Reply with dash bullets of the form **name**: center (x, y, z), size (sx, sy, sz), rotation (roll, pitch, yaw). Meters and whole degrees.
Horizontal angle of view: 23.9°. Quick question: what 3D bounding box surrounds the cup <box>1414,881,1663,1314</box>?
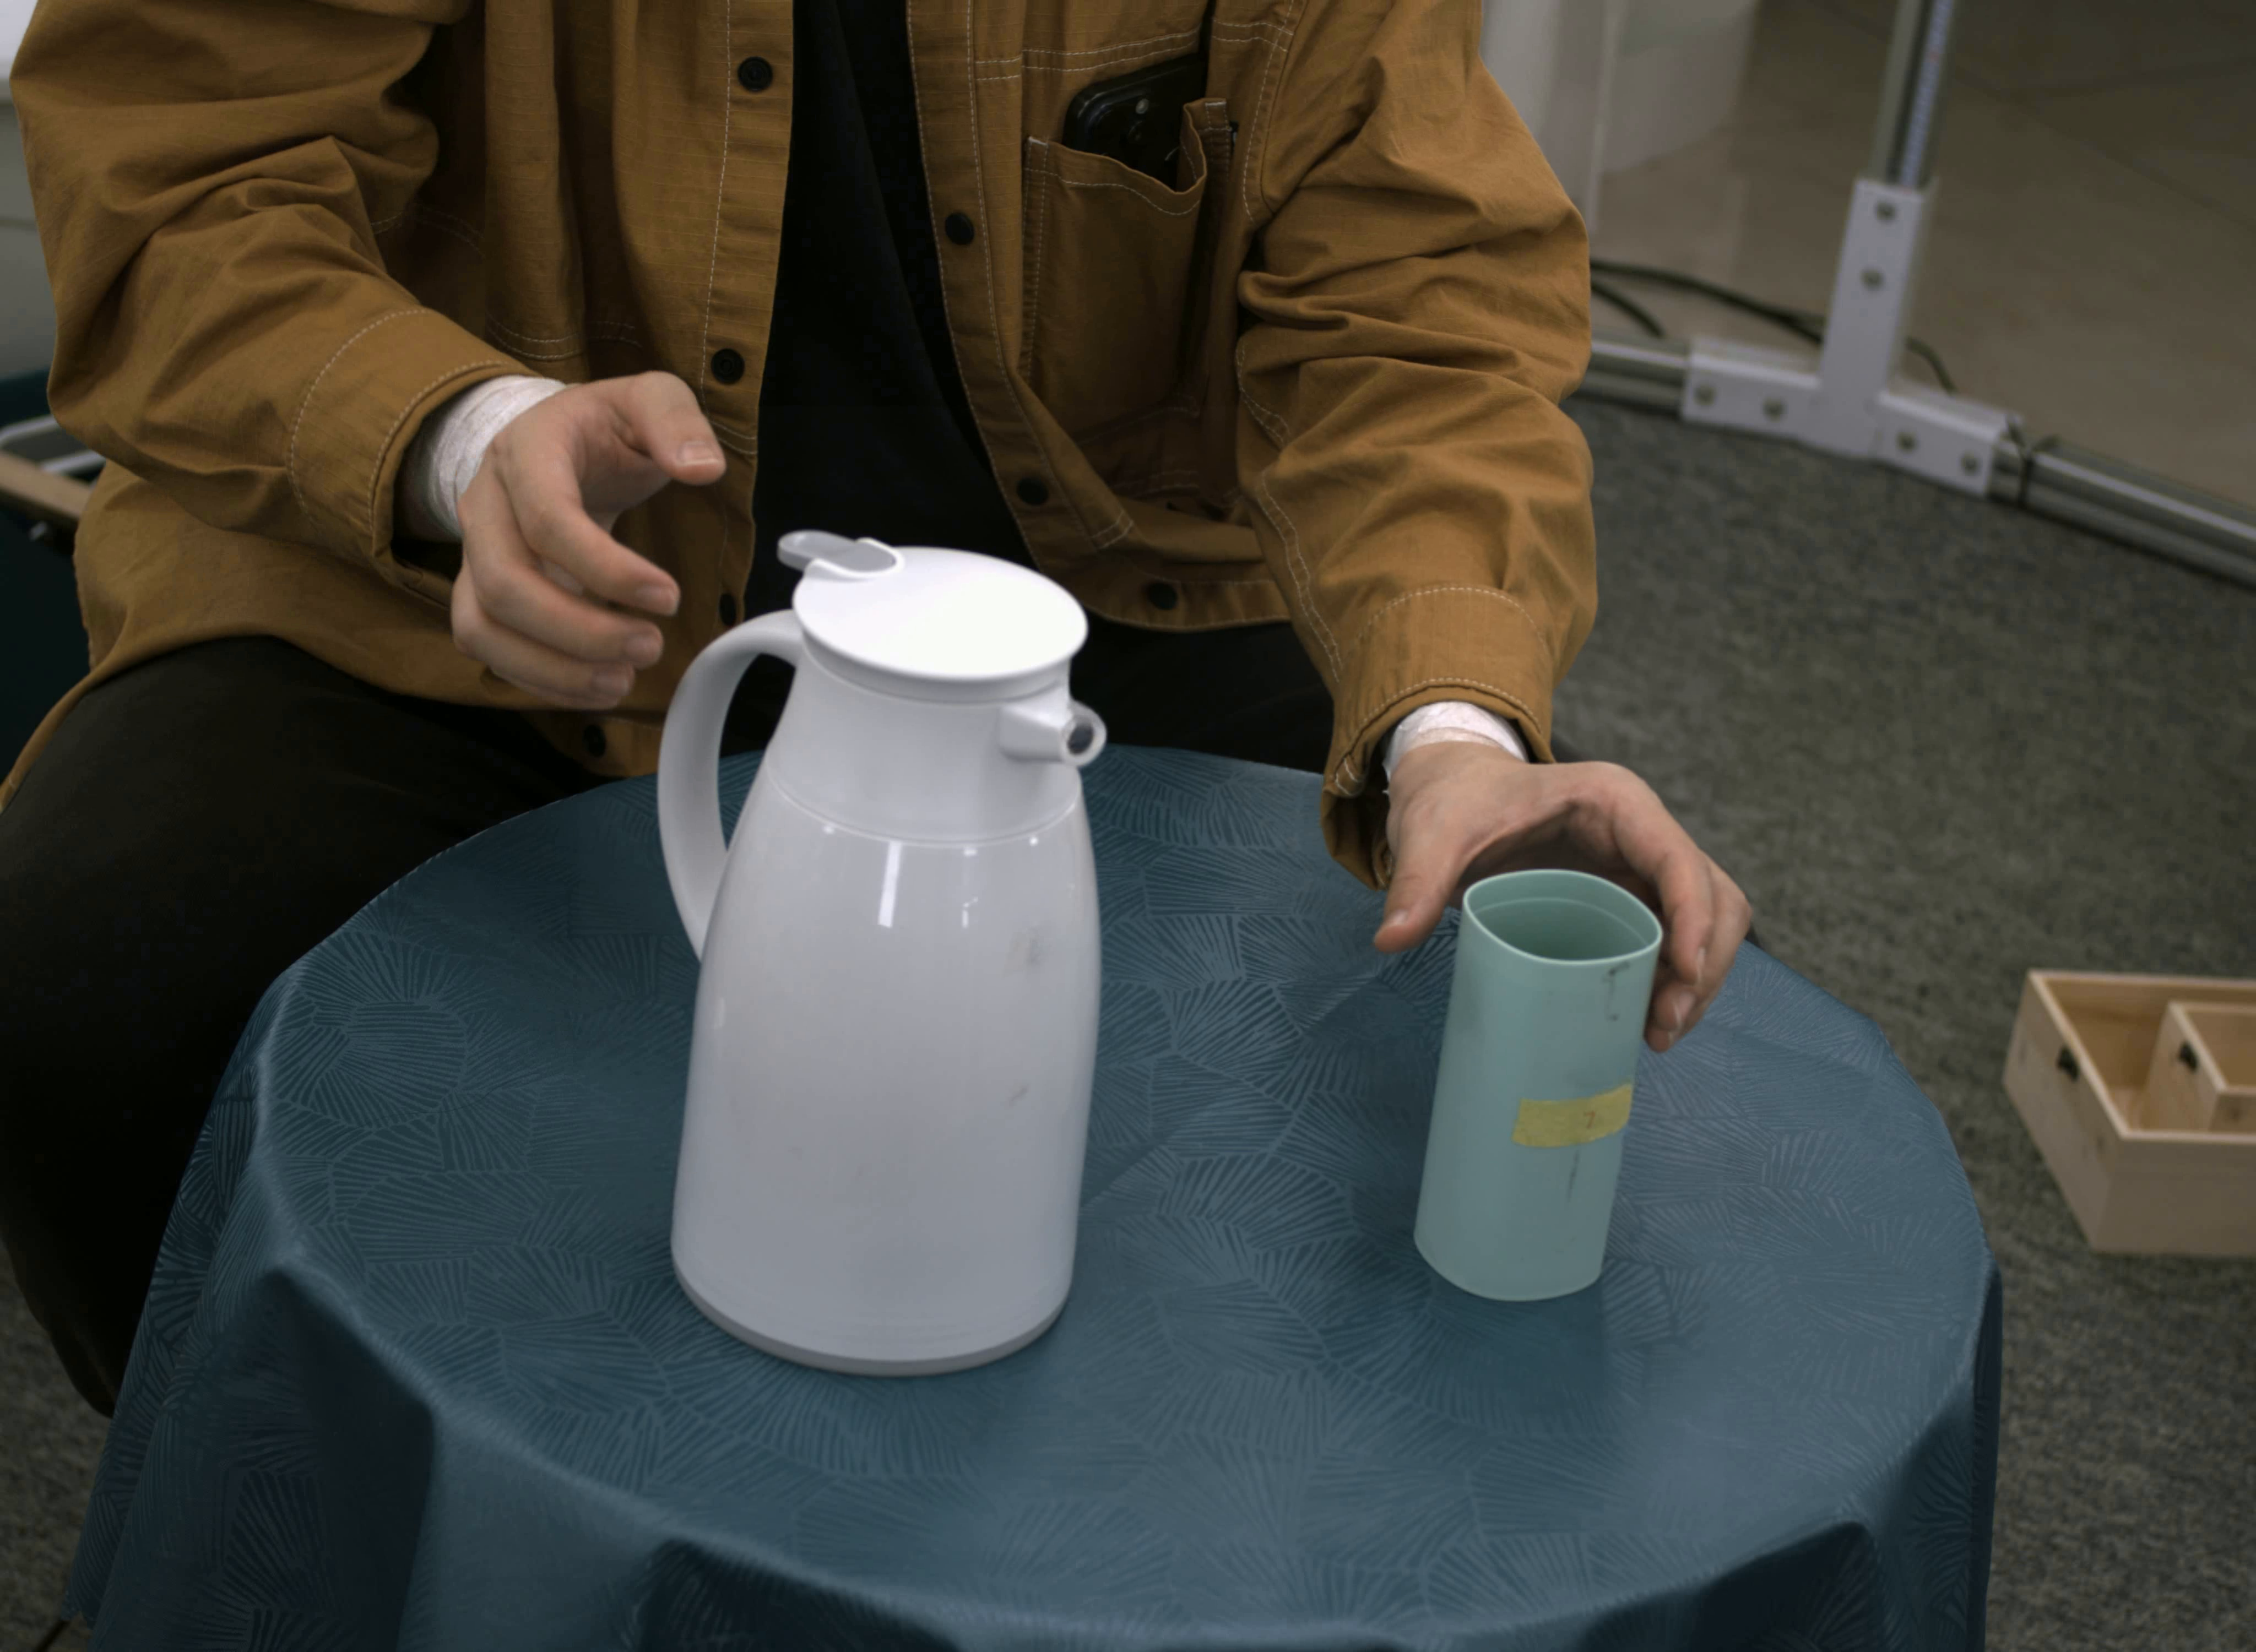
- **cup**: center (0.134, 0.089, 1.767), size (0.066, 0.132, 0.067), rotation (6, 26, -3)

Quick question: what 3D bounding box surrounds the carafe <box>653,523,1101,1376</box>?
- **carafe**: center (-0.087, 0.029, 1.699), size (0.169, 0.248, 0.132), rotation (24, 32, 32)
